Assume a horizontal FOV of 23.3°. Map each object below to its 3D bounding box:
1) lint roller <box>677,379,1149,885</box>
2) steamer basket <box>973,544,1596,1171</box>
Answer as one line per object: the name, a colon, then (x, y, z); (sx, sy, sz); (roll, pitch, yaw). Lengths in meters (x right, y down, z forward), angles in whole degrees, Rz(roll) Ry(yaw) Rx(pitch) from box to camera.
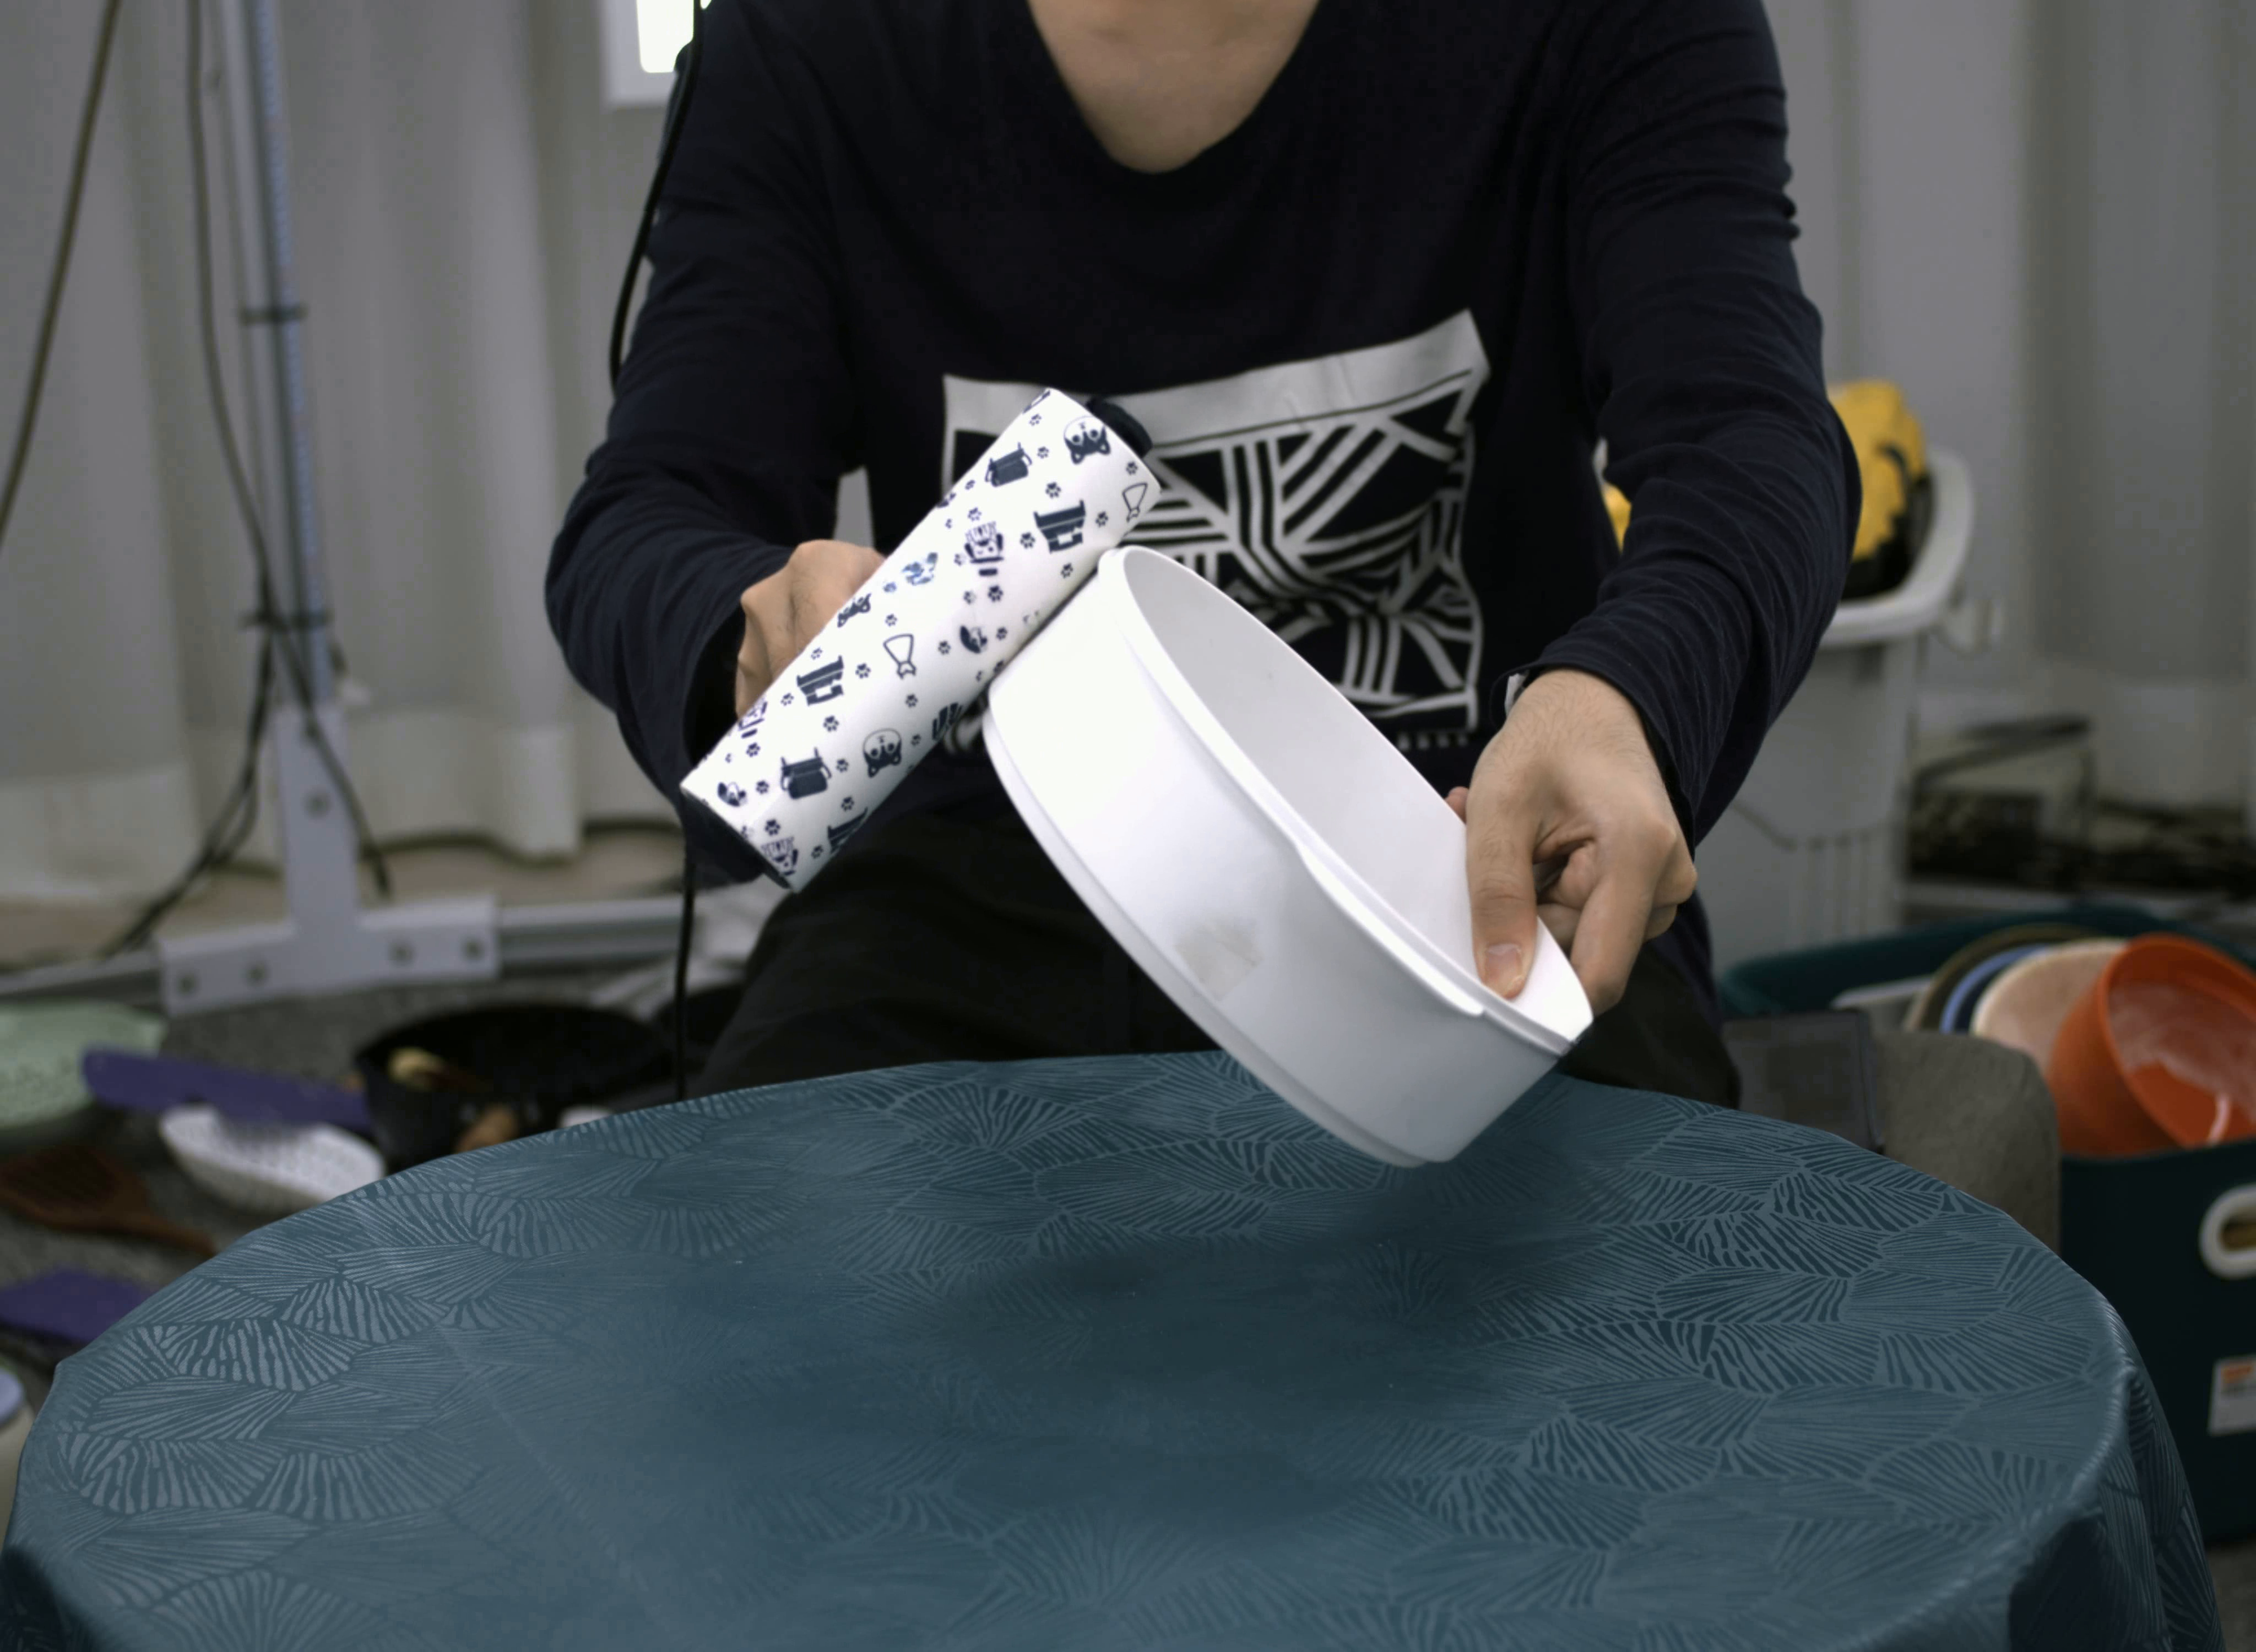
lint roller: (-0.077, -0.050, 1.691); (0.177, 0.050, 0.247); (-49, 5, -9)
steamer basket: (0.044, 0.012, 1.582); (0.069, 0.200, 0.233); (-45, 19, 12)
